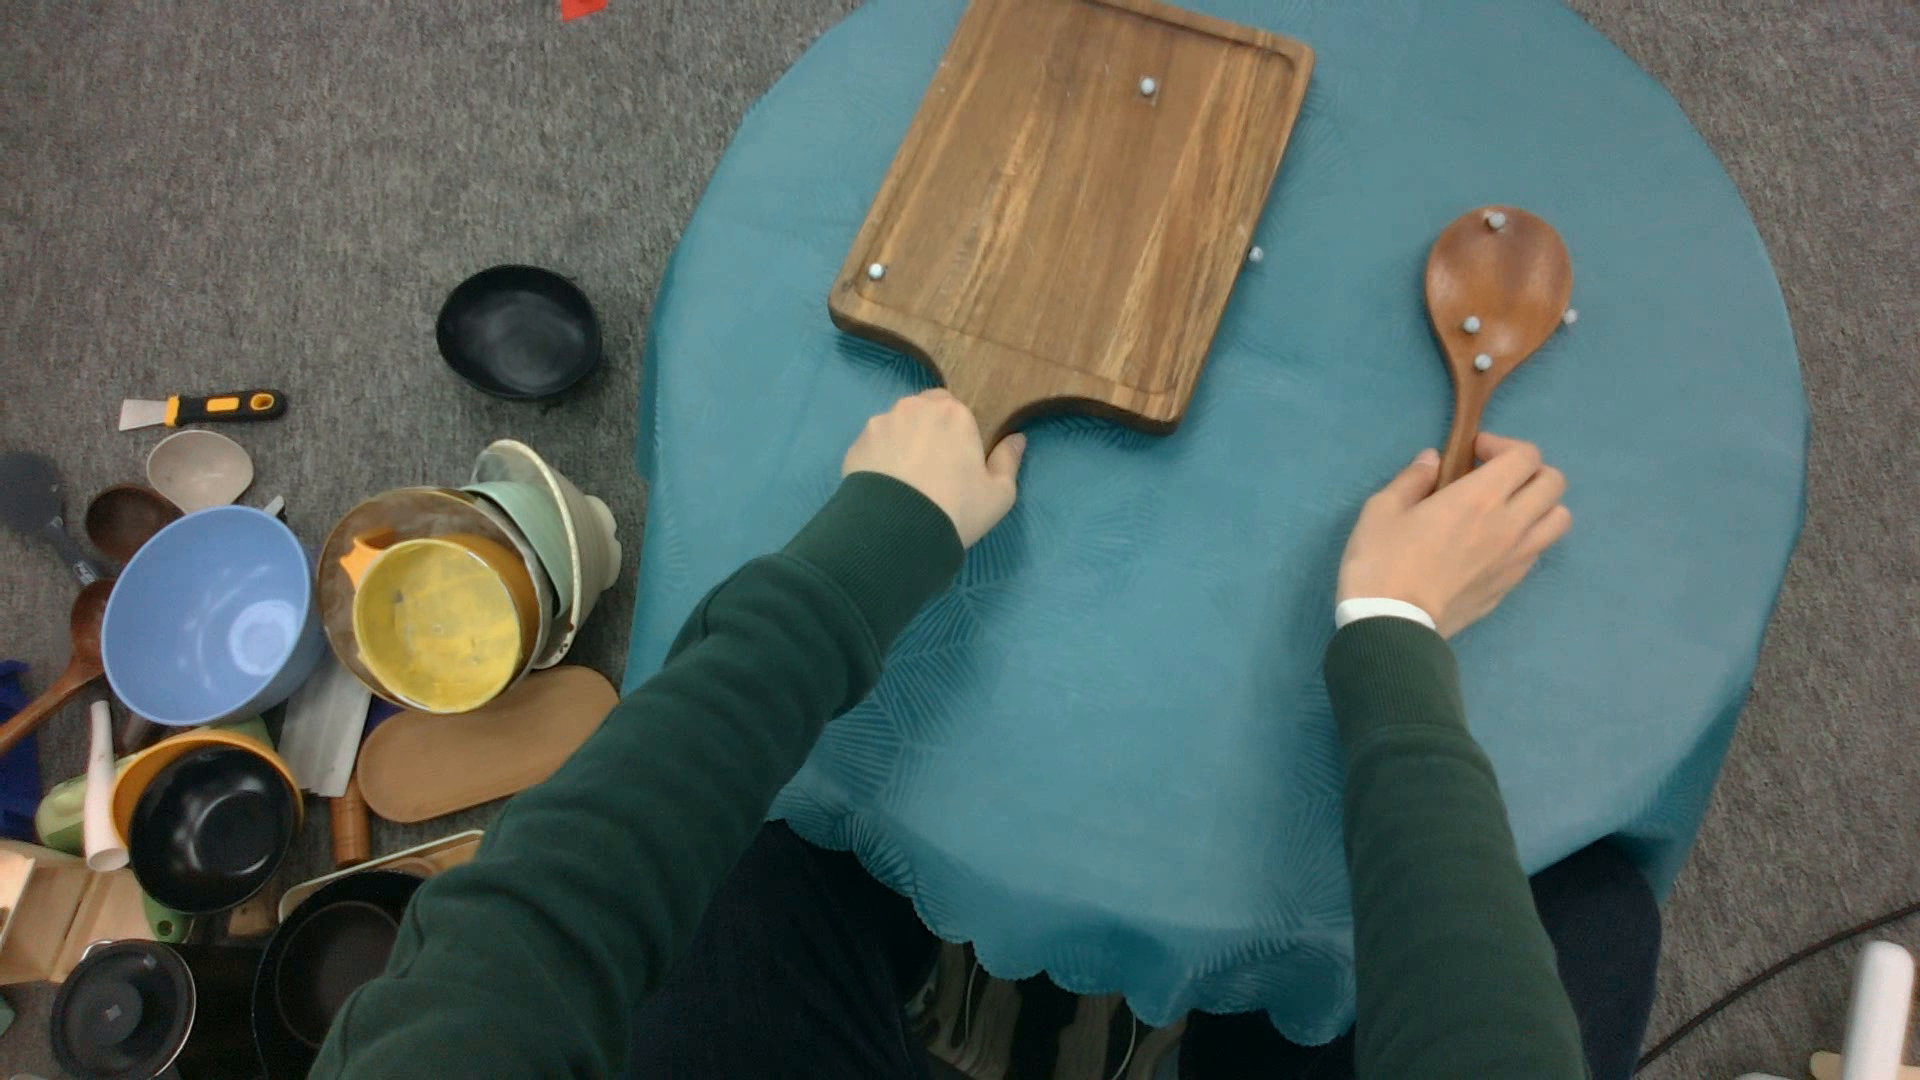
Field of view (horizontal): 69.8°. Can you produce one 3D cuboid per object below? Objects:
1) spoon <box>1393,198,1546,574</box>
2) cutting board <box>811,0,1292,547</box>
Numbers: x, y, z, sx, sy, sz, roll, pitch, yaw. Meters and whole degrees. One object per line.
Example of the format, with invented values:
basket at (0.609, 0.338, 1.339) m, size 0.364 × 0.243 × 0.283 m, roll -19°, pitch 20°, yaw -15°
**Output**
spoon at (0.253, -0.082, 0.707) m, size 0.075 × 0.017 × 0.216 m, roll 15°, pitch 71°, yaw 5°
cutting board at (0.037, -0.155, 0.733) m, size 0.201 × 0.023 × 0.353 m, roll 19°, pitch 70°, yaw 7°
